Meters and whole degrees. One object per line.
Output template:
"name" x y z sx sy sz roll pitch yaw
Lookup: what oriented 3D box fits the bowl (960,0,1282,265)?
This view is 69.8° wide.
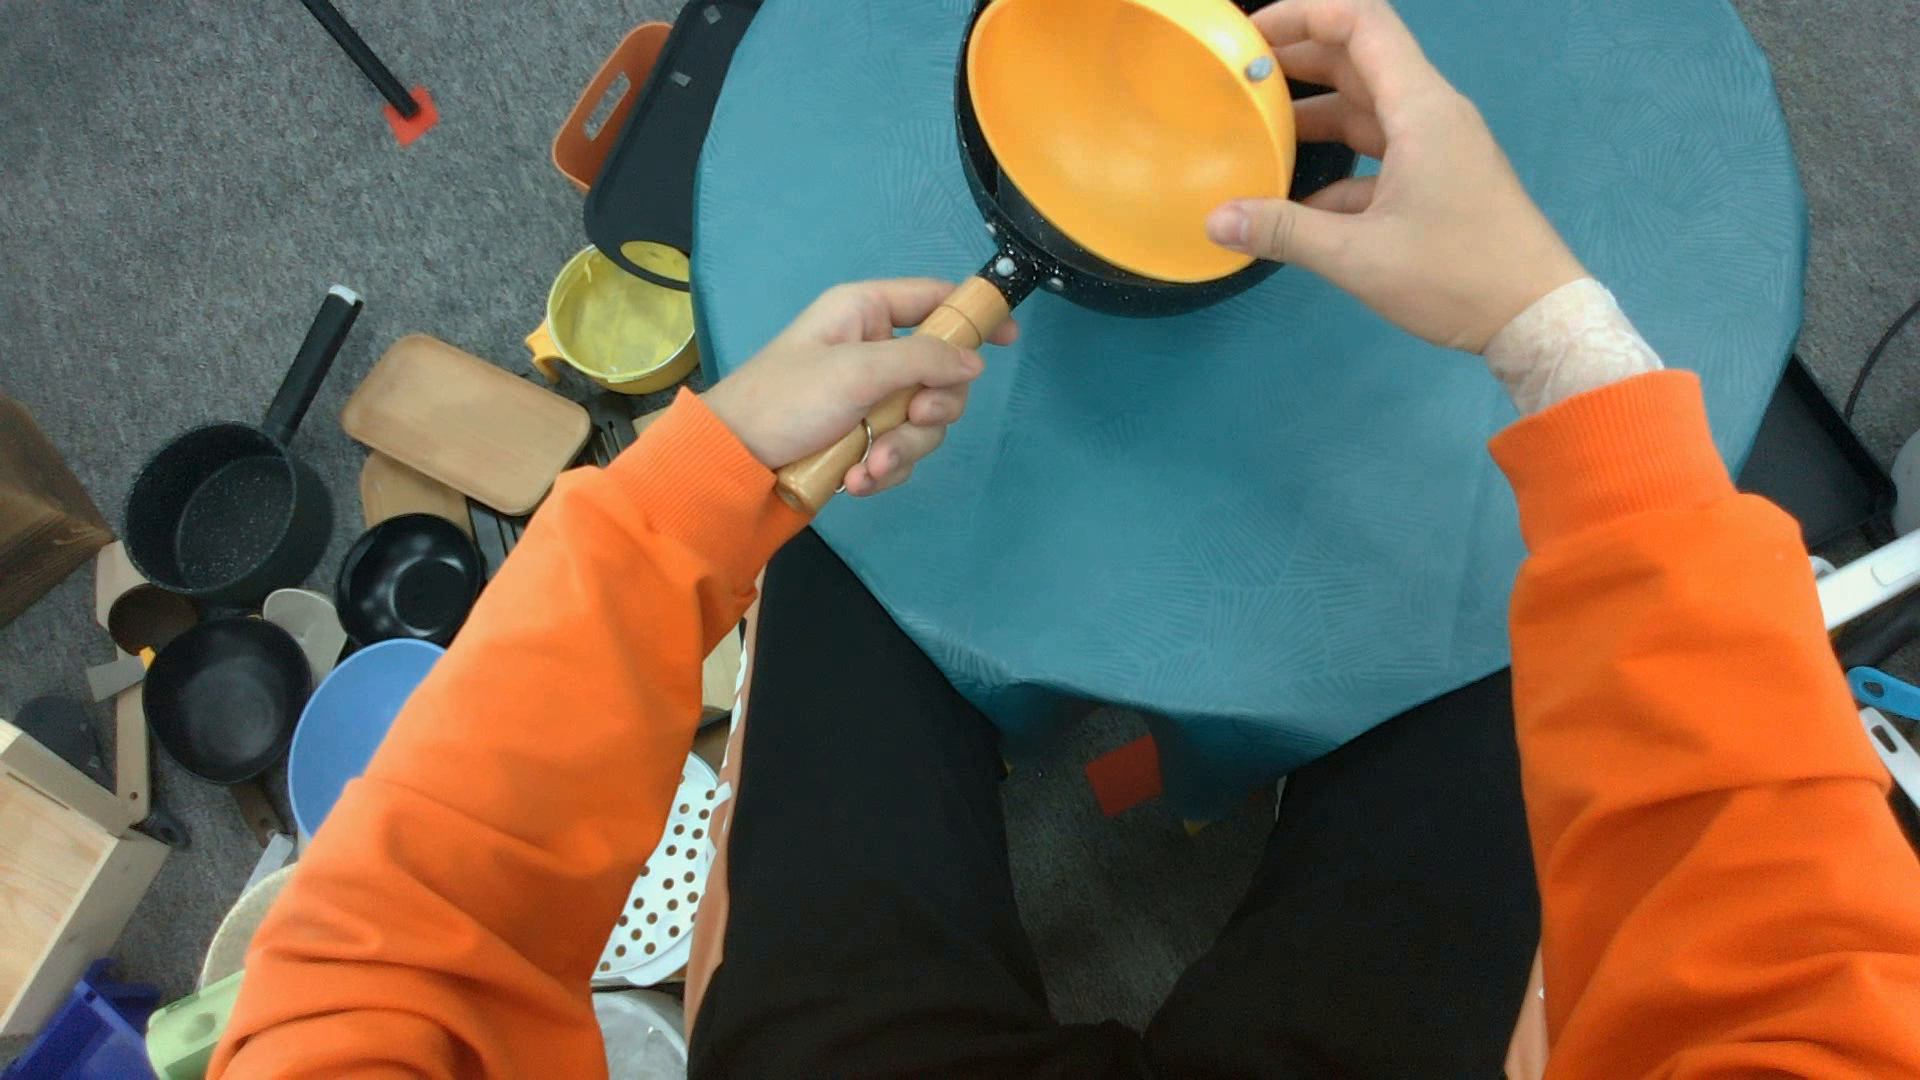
"bowl" 0.075 -0.186 0.561 0.145 0.145 0.060 31 67 13

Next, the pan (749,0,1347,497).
"pan" 0.031 -0.141 0.634 0.207 0.108 0.343 38 80 7
